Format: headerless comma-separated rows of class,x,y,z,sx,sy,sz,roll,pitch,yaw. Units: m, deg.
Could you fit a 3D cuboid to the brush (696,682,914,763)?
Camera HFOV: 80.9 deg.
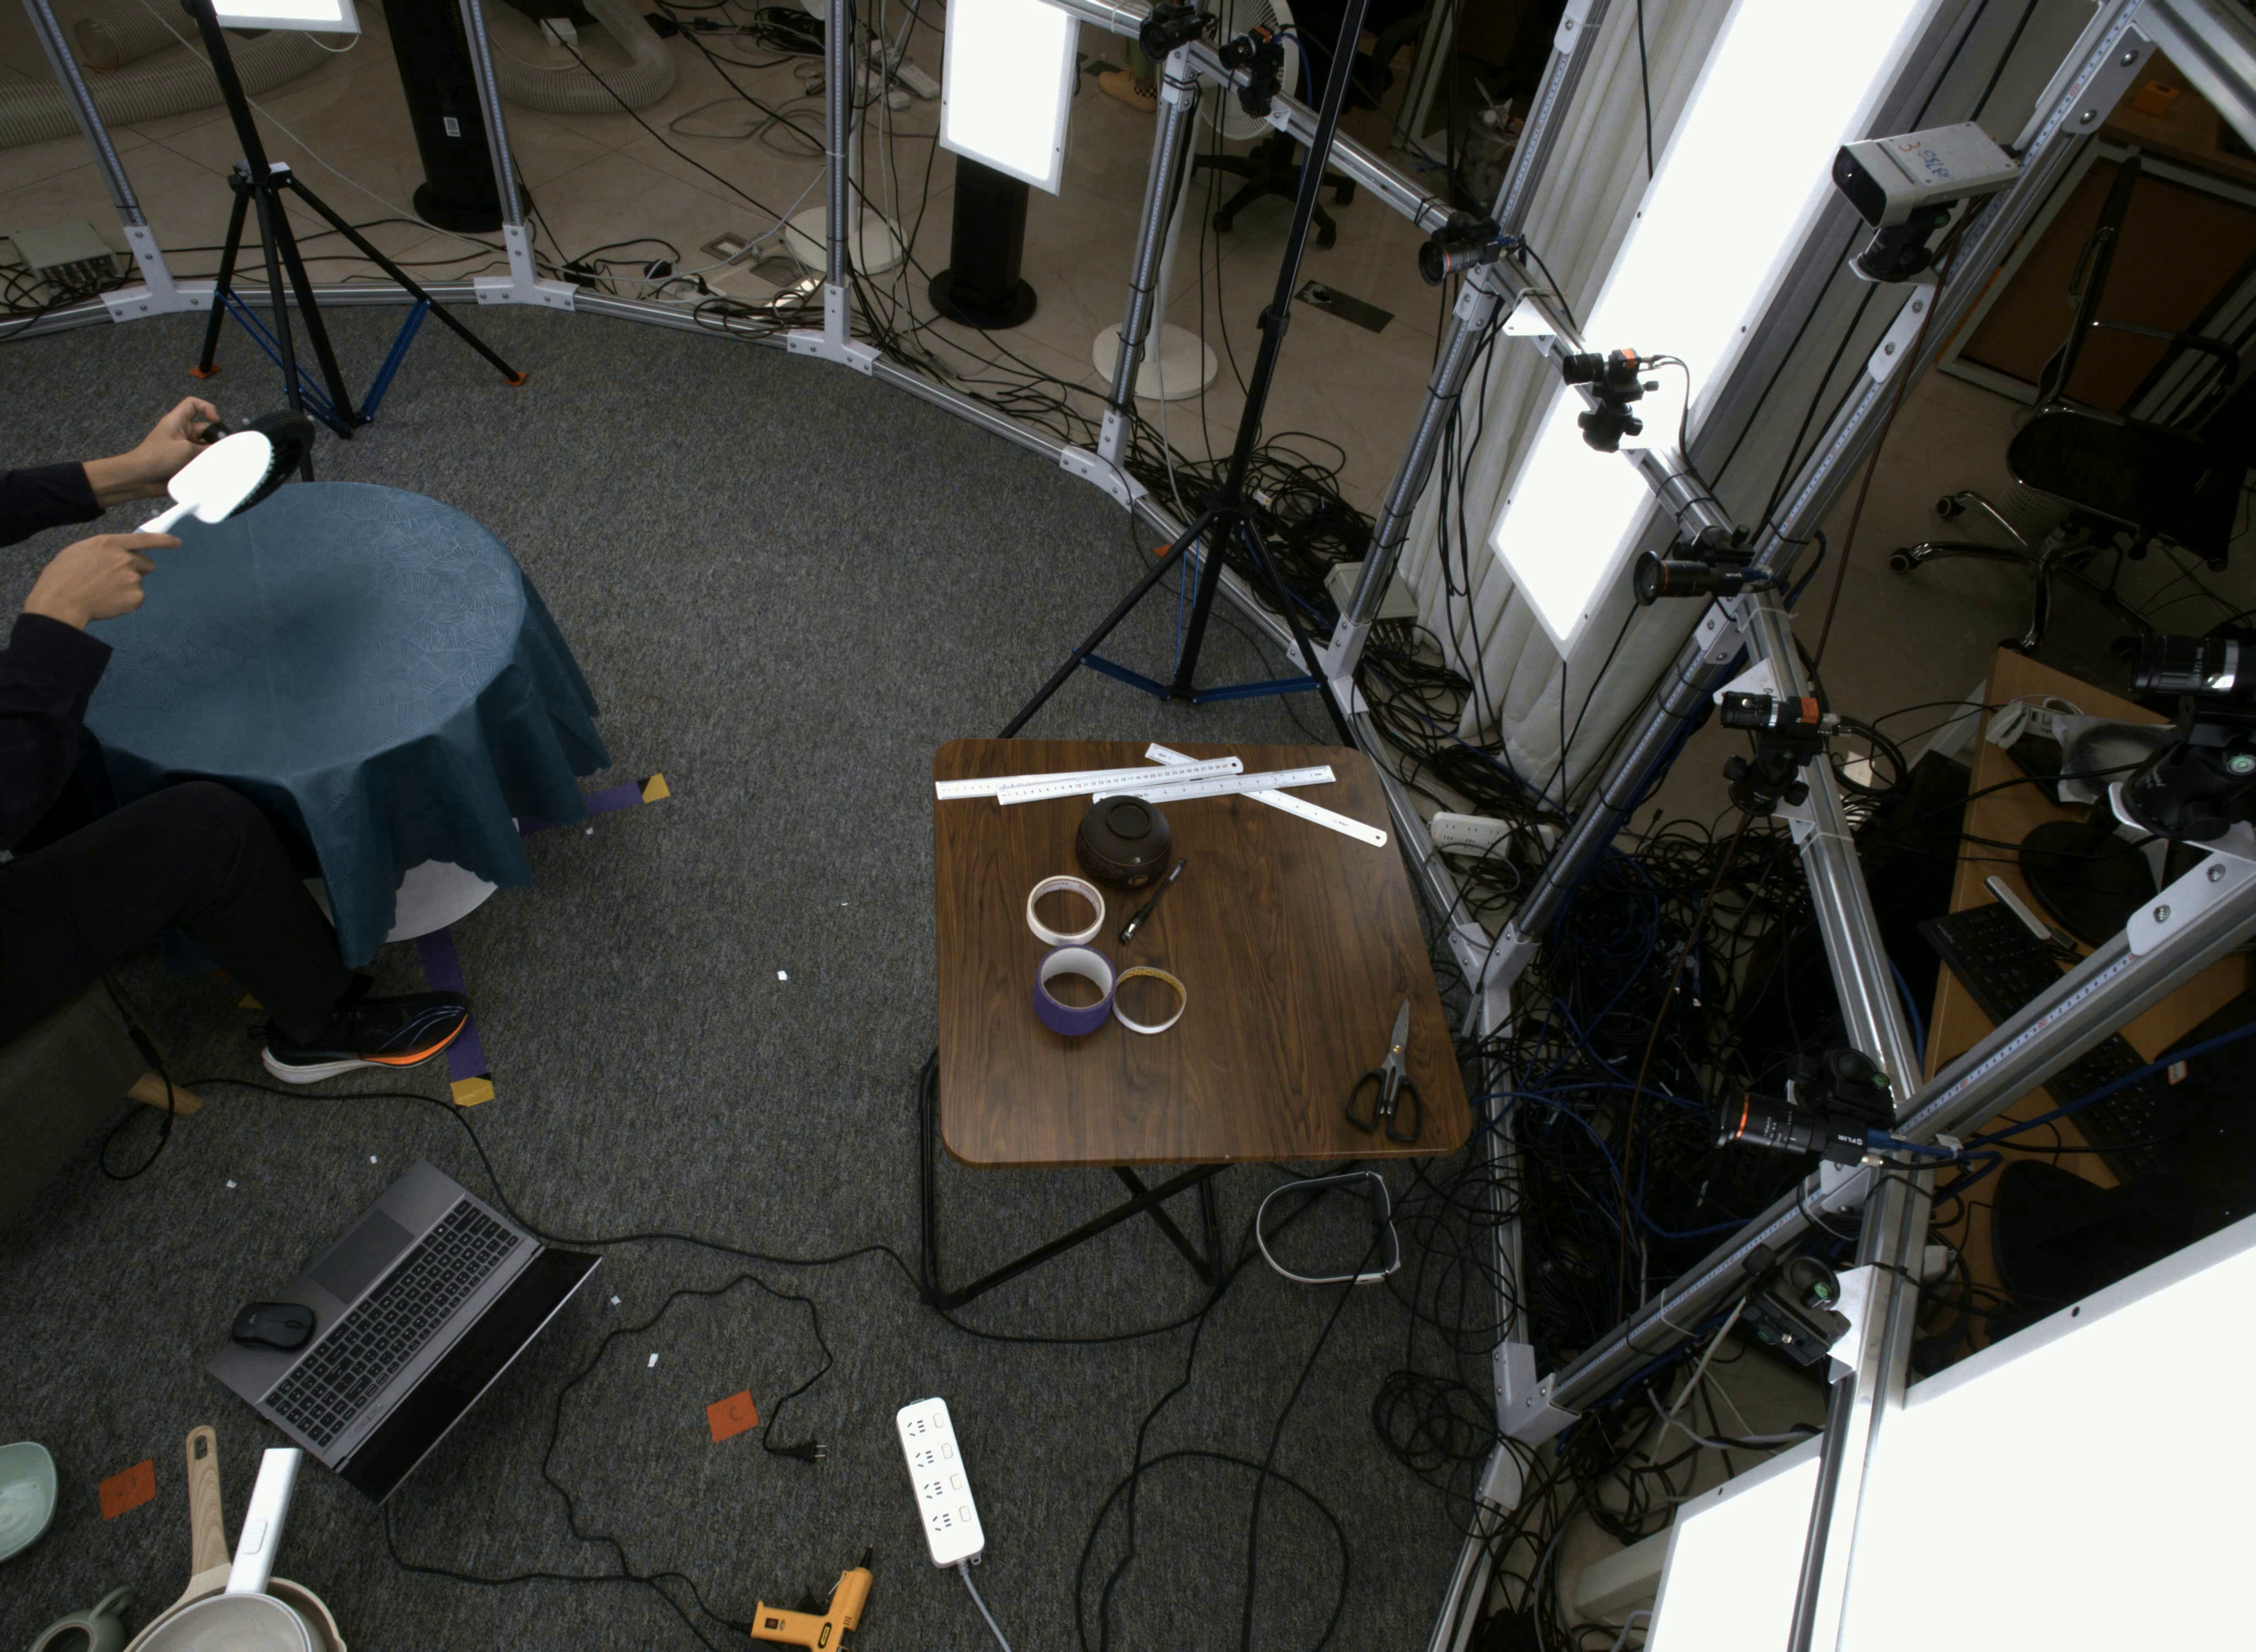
brush,-0.462,-0.140,1.864,0.326,0.087,0.080,-20,39,-24

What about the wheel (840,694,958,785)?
wheel,-0.365,-0.150,2.035,0.194,0.188,0.077,1,50,-43
